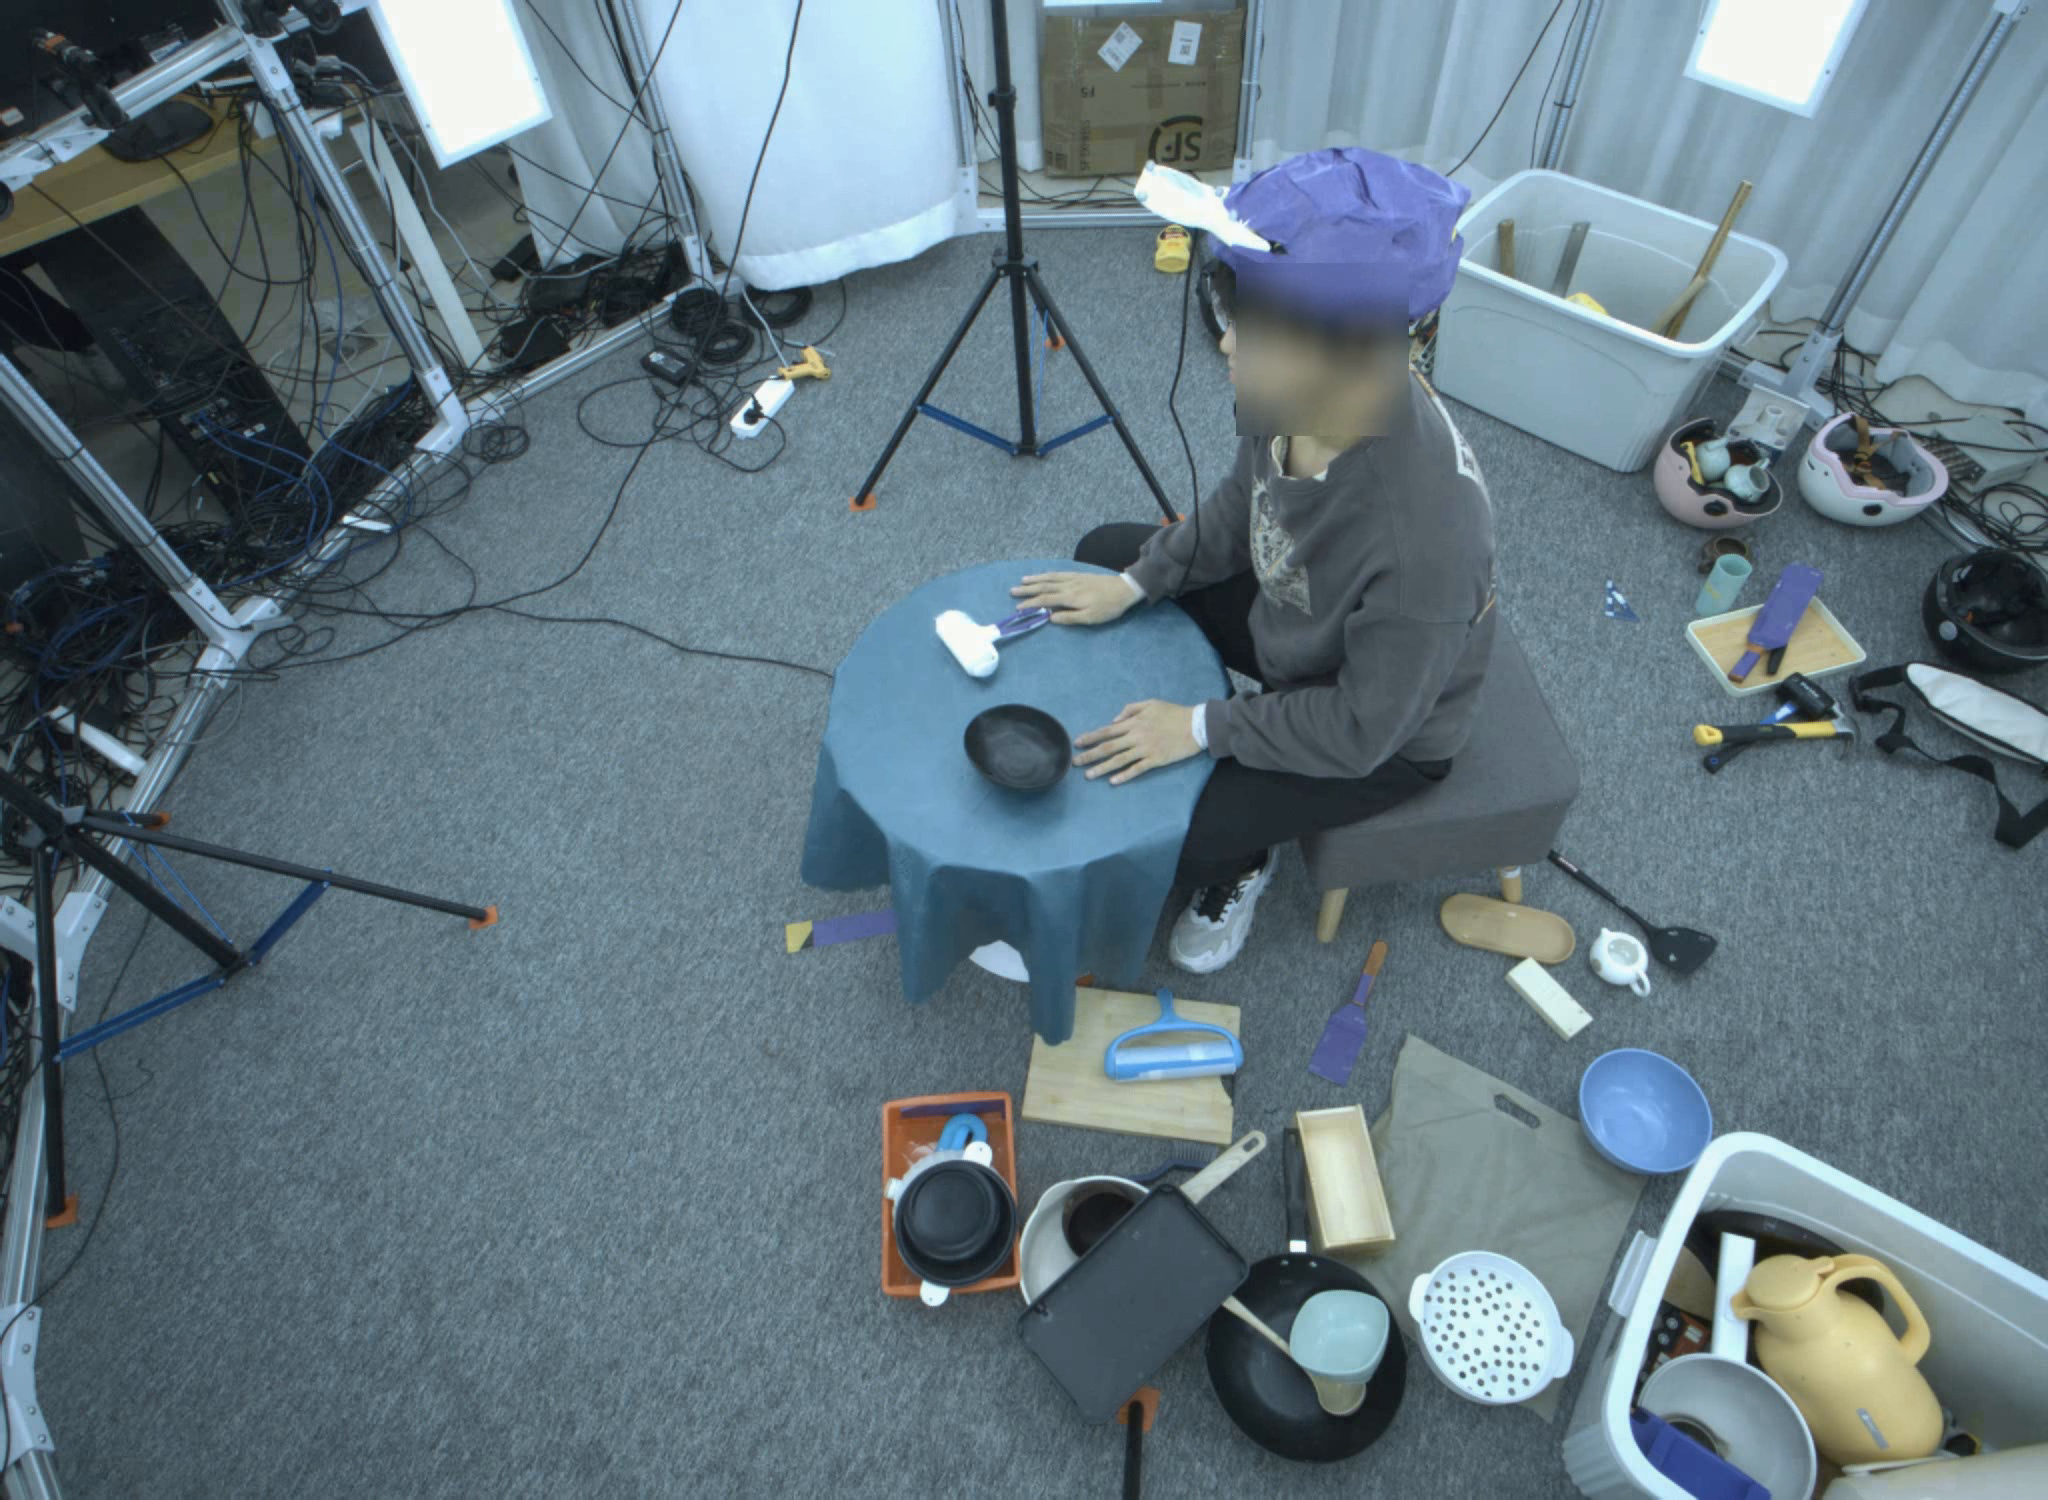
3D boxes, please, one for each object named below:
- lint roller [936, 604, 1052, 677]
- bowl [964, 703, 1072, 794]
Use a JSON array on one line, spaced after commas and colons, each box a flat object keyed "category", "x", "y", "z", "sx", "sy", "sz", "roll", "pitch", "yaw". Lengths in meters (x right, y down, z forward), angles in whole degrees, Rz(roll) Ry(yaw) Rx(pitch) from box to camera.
[{"category": "lint roller", "x": -0.035, "y": -0.191, "z": 1.894, "sx": 0.182, "sy": 0.051, "sz": 0.130, "roll": -28, "pitch": 57, "yaw": -13}, {"category": "bowl", "x": -0.009, "y": 0.008, "z": 1.740, "sx": 0.167, "sy": 0.067, "sz": 0.138, "roll": 36, "pitch": 62, "yaw": 26}]
